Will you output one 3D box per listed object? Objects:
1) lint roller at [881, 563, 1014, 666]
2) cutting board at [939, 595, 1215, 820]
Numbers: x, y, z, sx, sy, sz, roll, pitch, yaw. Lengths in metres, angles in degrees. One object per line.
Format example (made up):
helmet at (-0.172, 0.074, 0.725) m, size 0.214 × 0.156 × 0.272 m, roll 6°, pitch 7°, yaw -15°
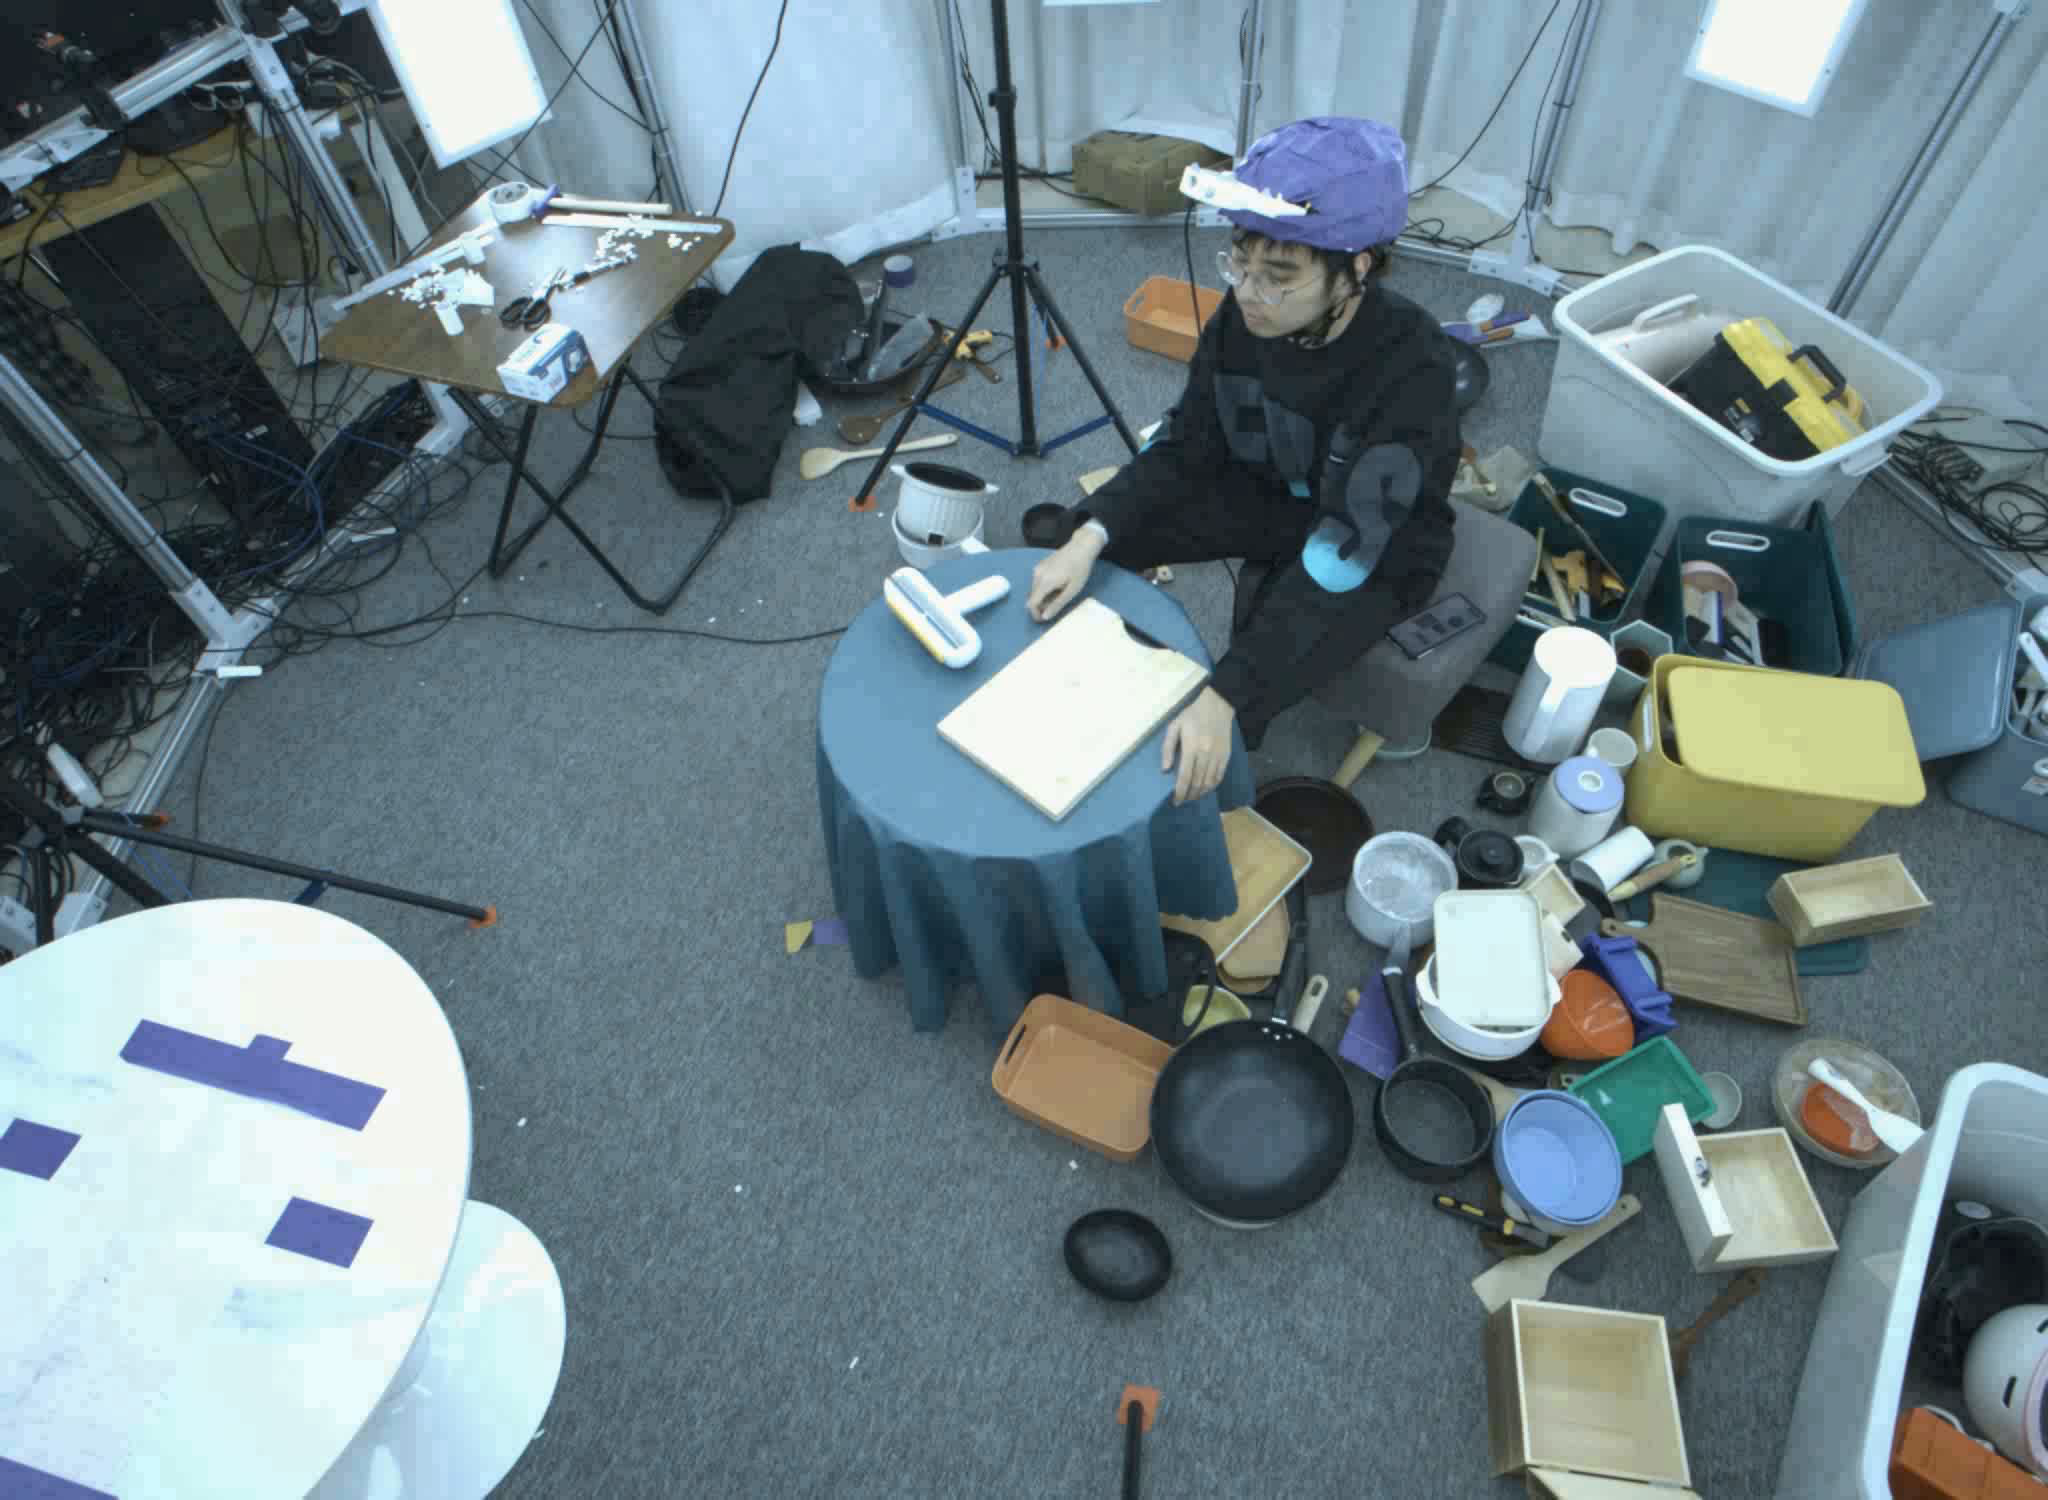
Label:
lint roller at (-0.100, -0.233, 1.910) m, size 0.194 × 0.075 × 0.190 m, roll -31°, pitch 65°, yaw -21°
cutting board at (0.078, -0.074, 1.823) m, size 0.246 × 0.024 × 0.351 m, roll 36°, pitch 63°, yaw 24°
